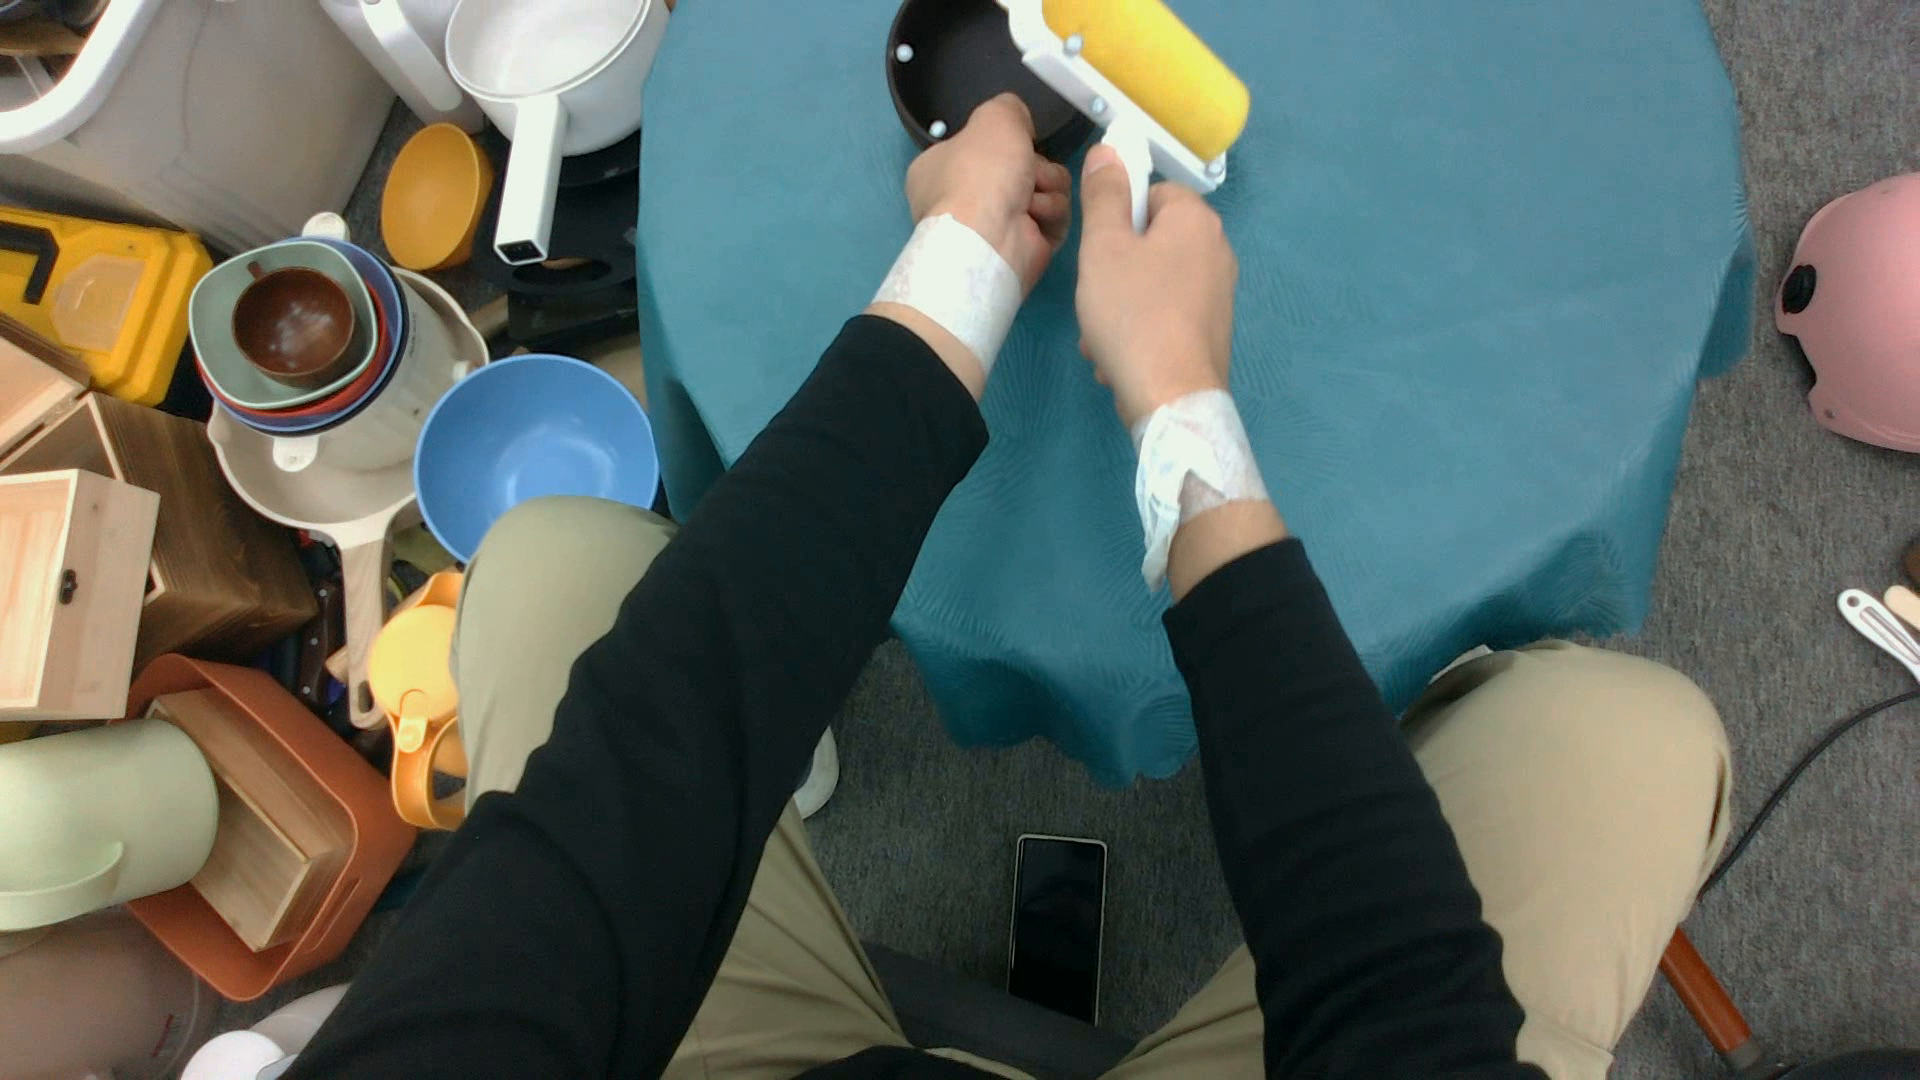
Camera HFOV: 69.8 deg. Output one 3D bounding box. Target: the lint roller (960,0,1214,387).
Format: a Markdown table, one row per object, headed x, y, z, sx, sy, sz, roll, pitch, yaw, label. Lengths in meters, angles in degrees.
| x | y | z | sx | sy | sz | roll | pitch | yaw | label |
| --- | --- | --- | --- | --- | --- | --- | --- | --- | --- |
| 0.078 | -0.167 | 0.650 | 0.051 | 0.174 | 0.192 | -23 | 67 | 32 | lint roller |

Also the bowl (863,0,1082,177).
| x | y | z | sx | sy | sz | roll | pitch | yaw | label |
| --- | --- | --- | --- | --- | --- | --- | --- | --- | --- |
| 0.012 | -0.249 | 0.734 | 0.118 | 0.070 | 0.118 | -2 | 80 | 10 | bowl |
